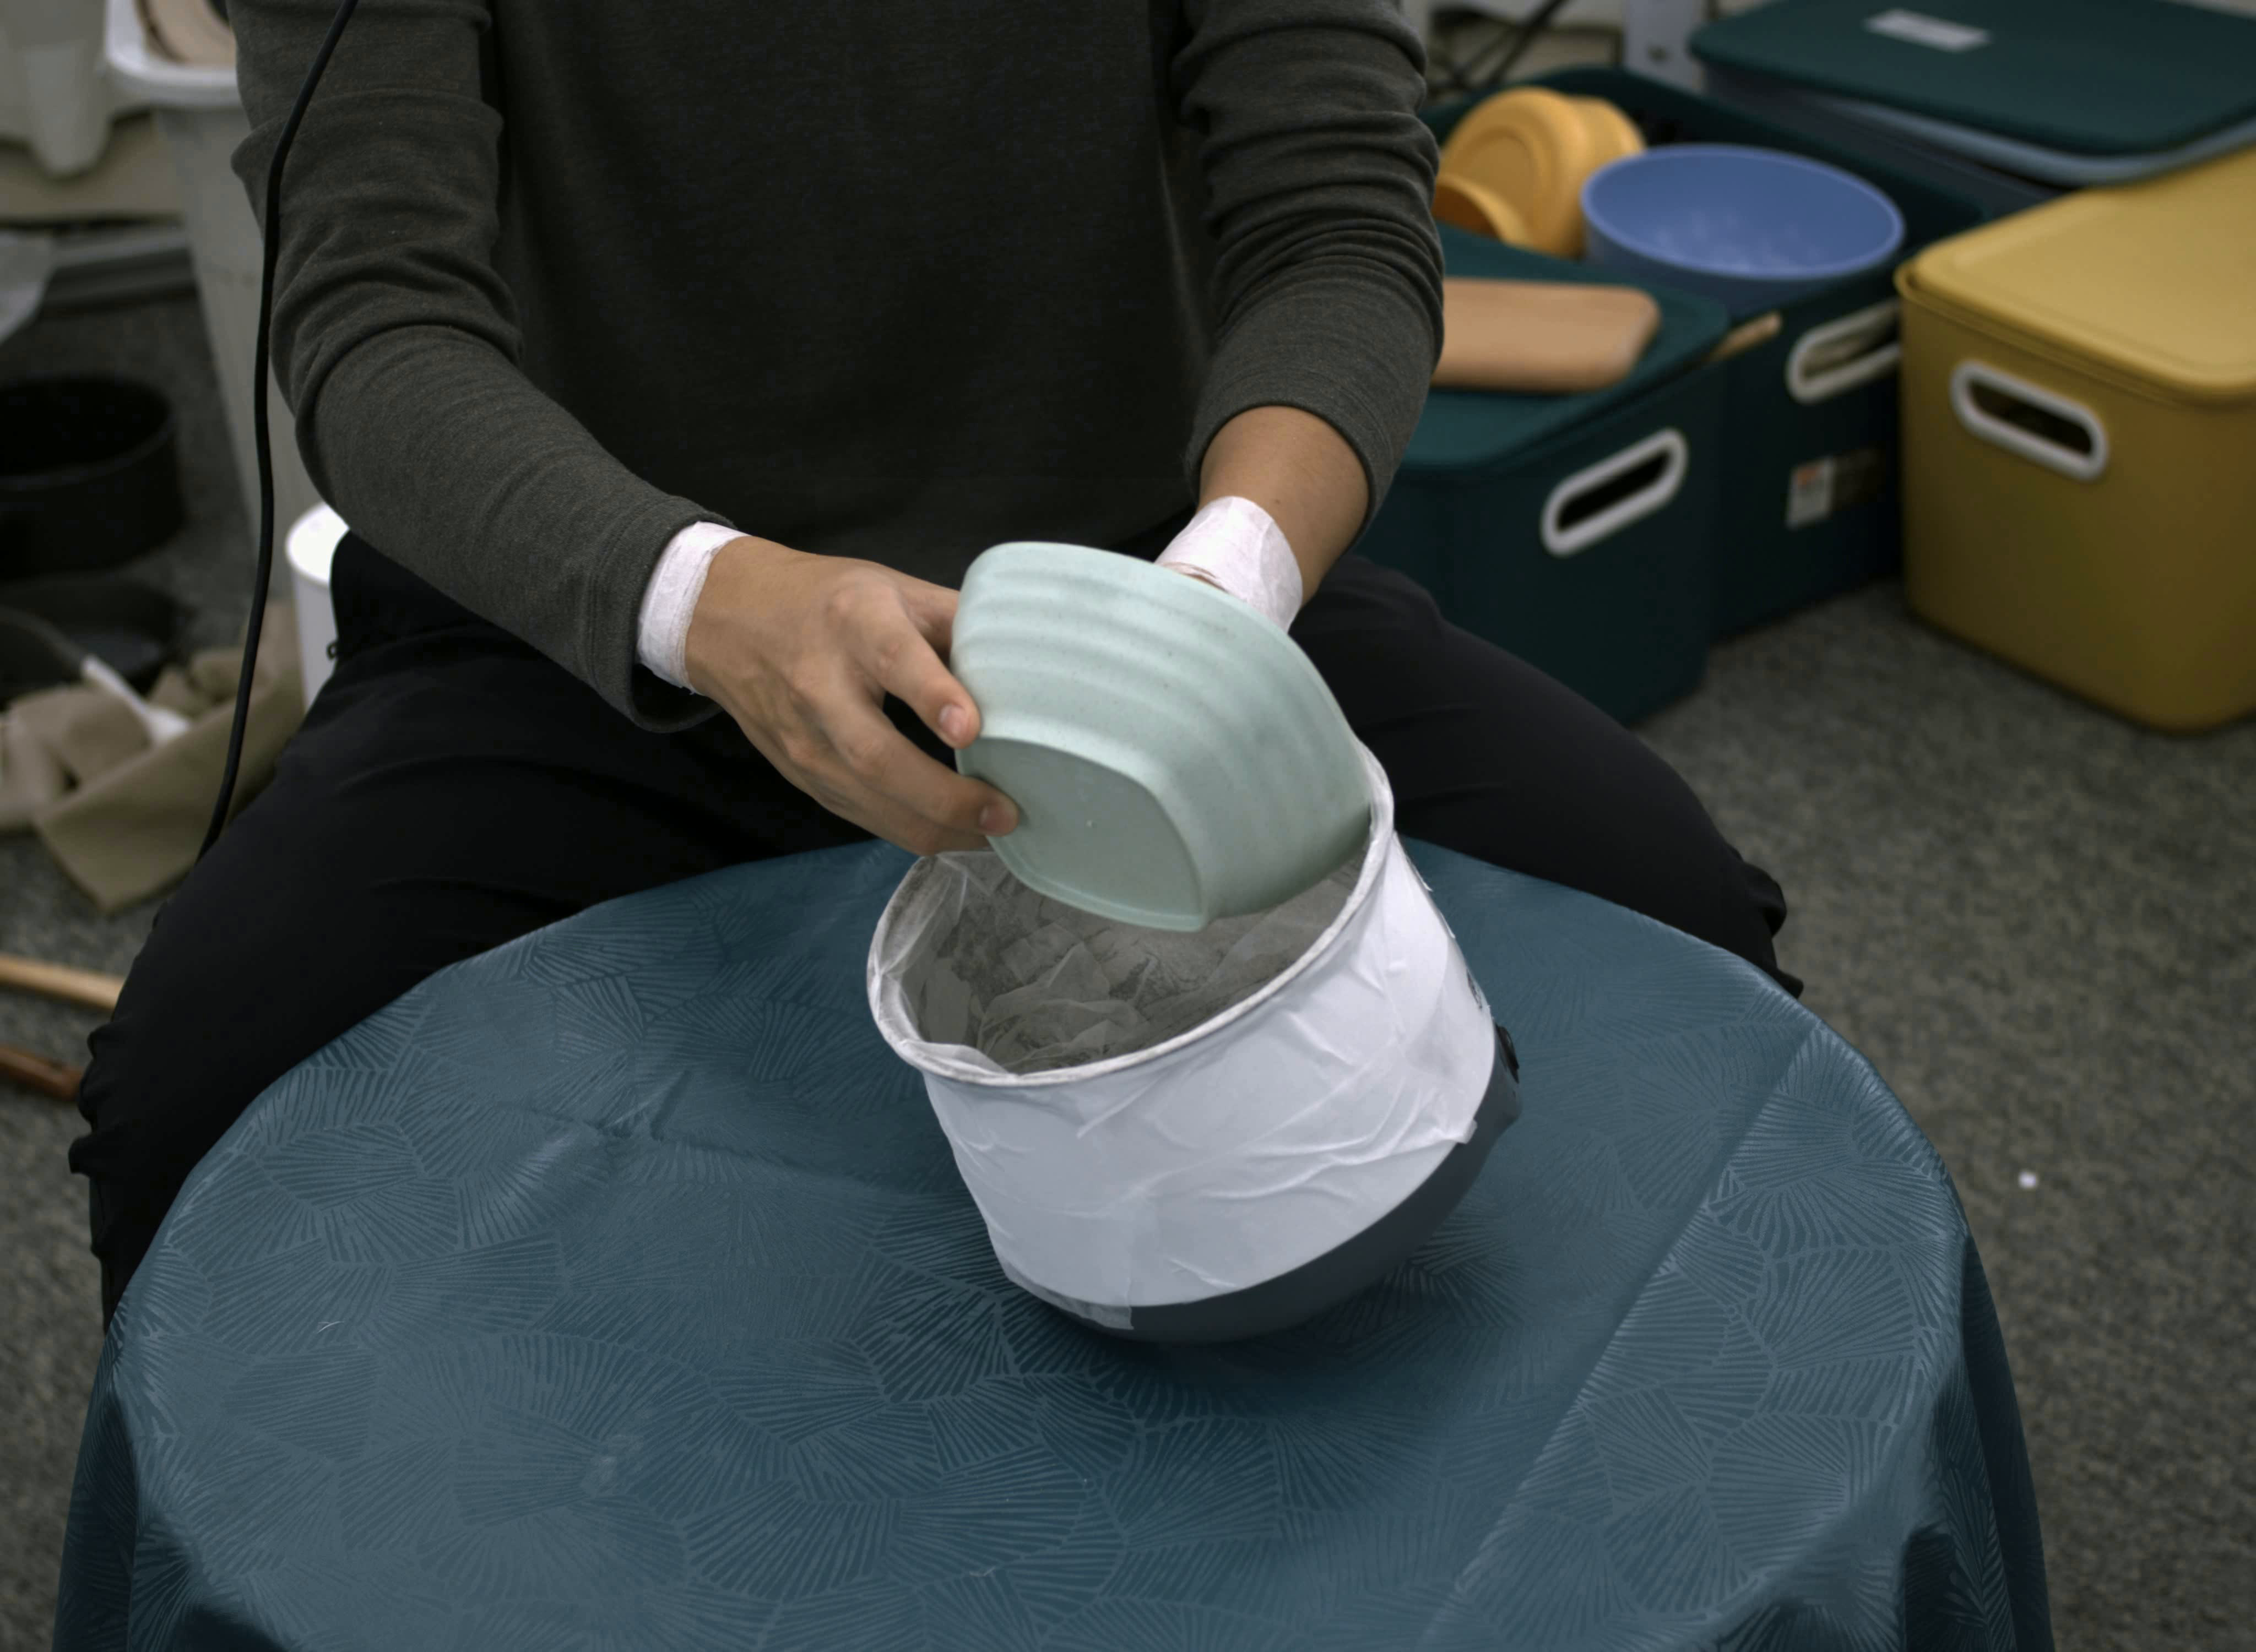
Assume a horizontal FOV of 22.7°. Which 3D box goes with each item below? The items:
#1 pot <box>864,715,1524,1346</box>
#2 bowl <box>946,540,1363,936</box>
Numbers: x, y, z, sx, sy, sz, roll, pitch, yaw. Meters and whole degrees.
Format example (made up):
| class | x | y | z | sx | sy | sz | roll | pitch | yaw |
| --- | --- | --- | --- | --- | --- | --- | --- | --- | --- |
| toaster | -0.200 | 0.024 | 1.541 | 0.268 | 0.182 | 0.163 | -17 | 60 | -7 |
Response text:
| class | x | y | z | sx | sy | sz | roll | pitch | yaw |
| --- | --- | --- | --- | --- | --- | --- | --- | --- | --- |
| pot | 0.019 | 0.051 | 1.804 | 0.178 | 0.135 | 0.237 | -22 | 33 | 5 |
| bowl | -0.003 | -0.018 | 1.738 | 0.151 | 0.149 | 0.059 | 16 | 55 | 32 |
